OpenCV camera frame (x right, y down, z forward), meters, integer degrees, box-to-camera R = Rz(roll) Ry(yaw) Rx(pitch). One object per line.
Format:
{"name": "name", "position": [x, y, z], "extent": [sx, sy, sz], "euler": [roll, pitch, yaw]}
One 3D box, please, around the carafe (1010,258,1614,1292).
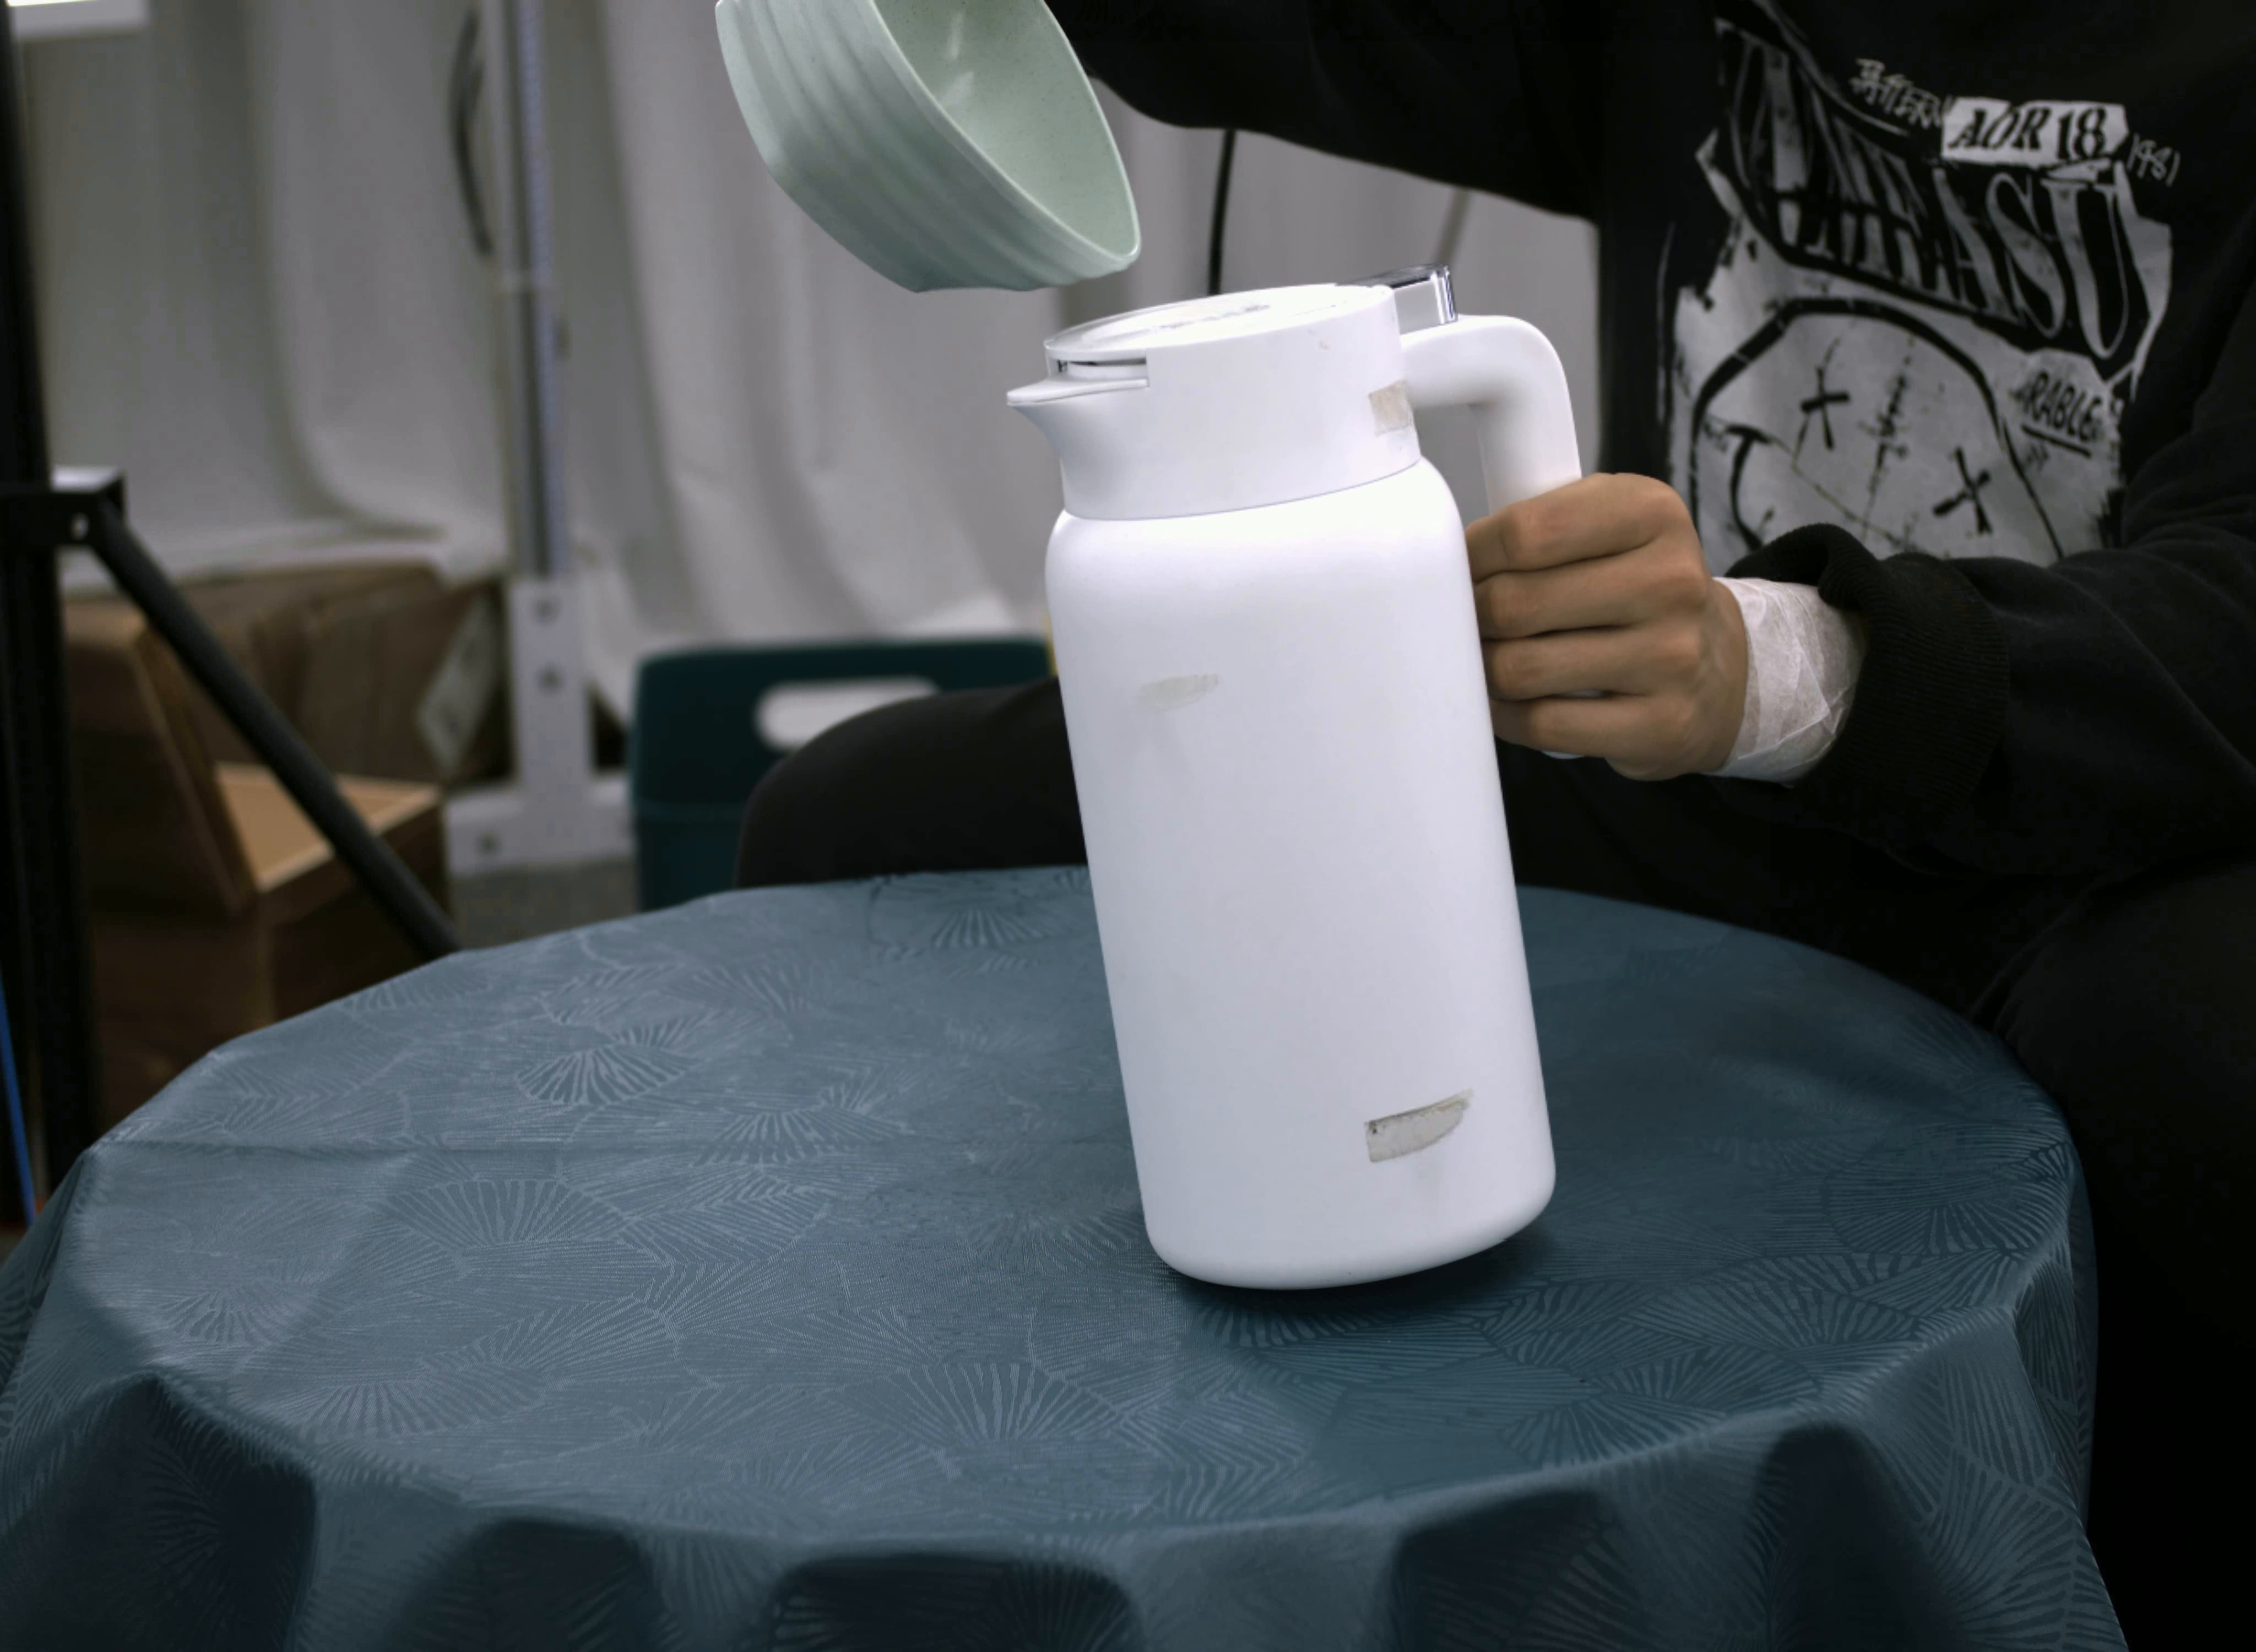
{"name": "carafe", "position": [0.059, -0.017, 1.479], "extent": [0.169, 0.269, 0.126], "euler": [-15, 10, -29]}

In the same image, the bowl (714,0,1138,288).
{"name": "bowl", "position": [-0.063, -0.203, 1.467], "extent": [0.059, 0.151, 0.150], "euler": [-34, 6, 19]}
